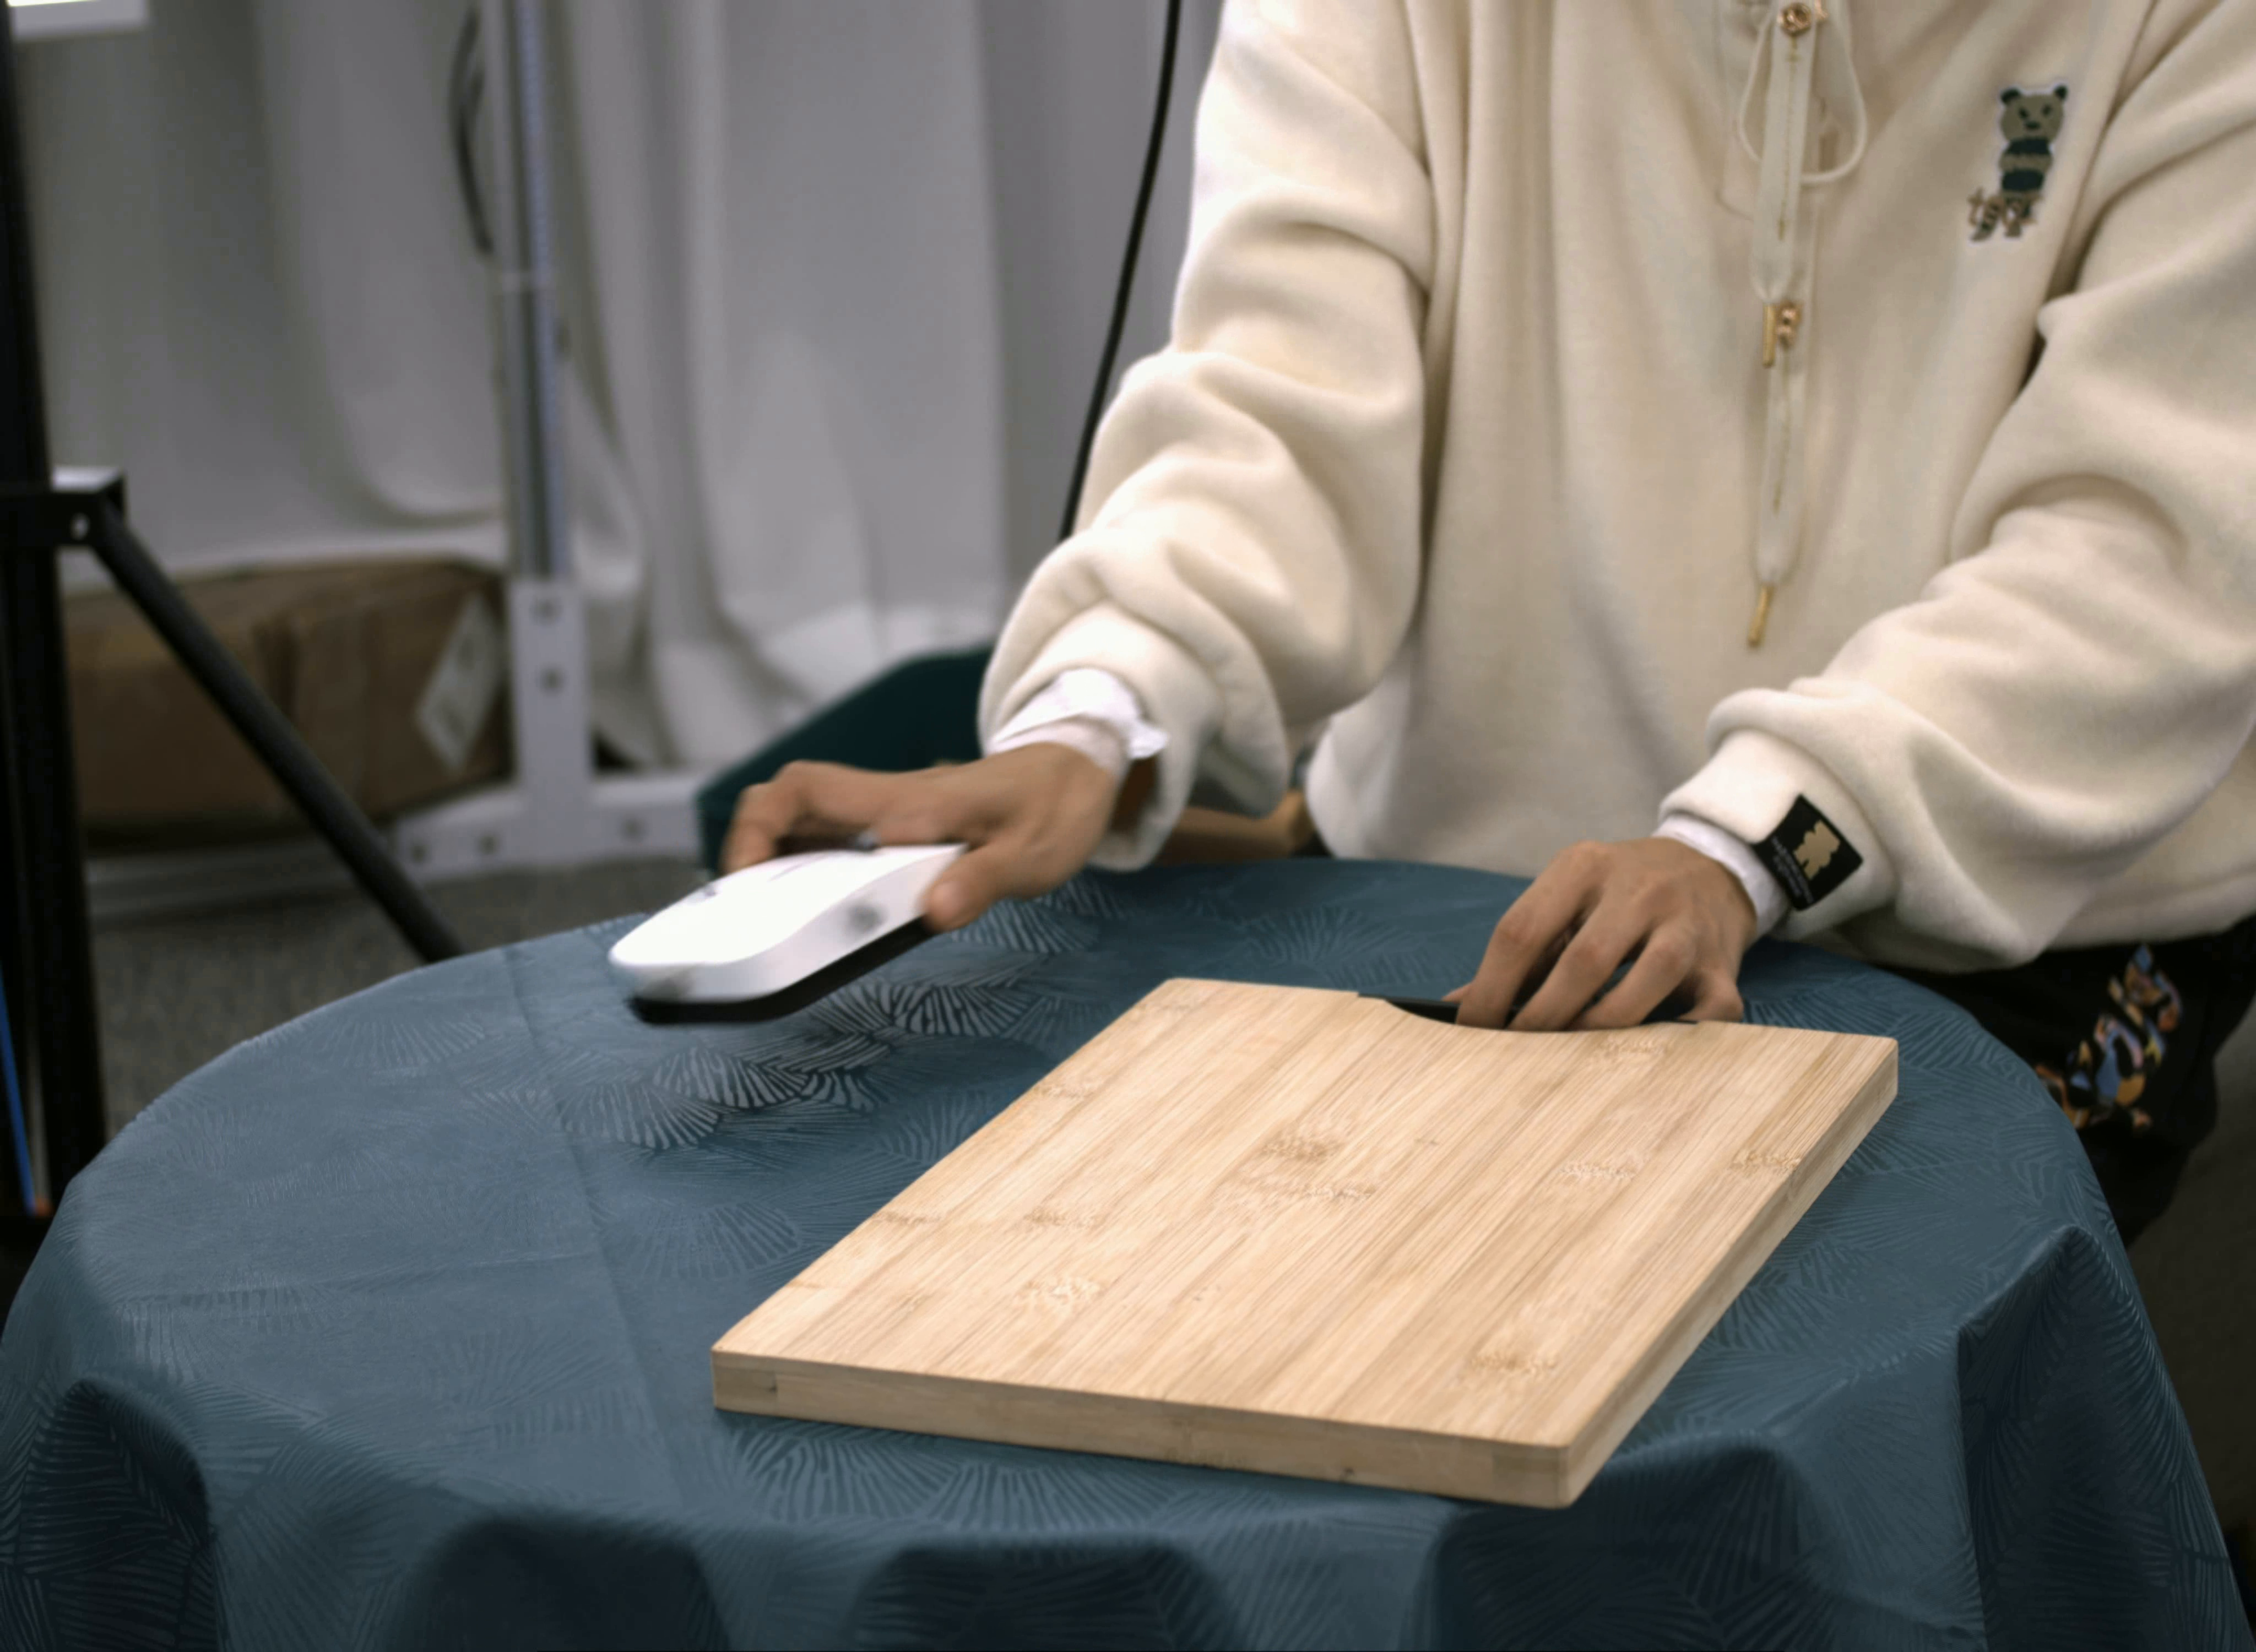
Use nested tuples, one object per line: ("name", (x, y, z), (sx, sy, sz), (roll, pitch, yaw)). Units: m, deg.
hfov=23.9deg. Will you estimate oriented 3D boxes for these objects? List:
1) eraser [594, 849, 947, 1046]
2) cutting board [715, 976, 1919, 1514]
("eraser", (-0.109, 0.034, 1.674), (0.064, 0.034, 0.129), (-1, 17, 34))
("cutting board", (0.065, 0.110, 1.511), (0.254, 0.023, 0.344), (4, 17, 22))
